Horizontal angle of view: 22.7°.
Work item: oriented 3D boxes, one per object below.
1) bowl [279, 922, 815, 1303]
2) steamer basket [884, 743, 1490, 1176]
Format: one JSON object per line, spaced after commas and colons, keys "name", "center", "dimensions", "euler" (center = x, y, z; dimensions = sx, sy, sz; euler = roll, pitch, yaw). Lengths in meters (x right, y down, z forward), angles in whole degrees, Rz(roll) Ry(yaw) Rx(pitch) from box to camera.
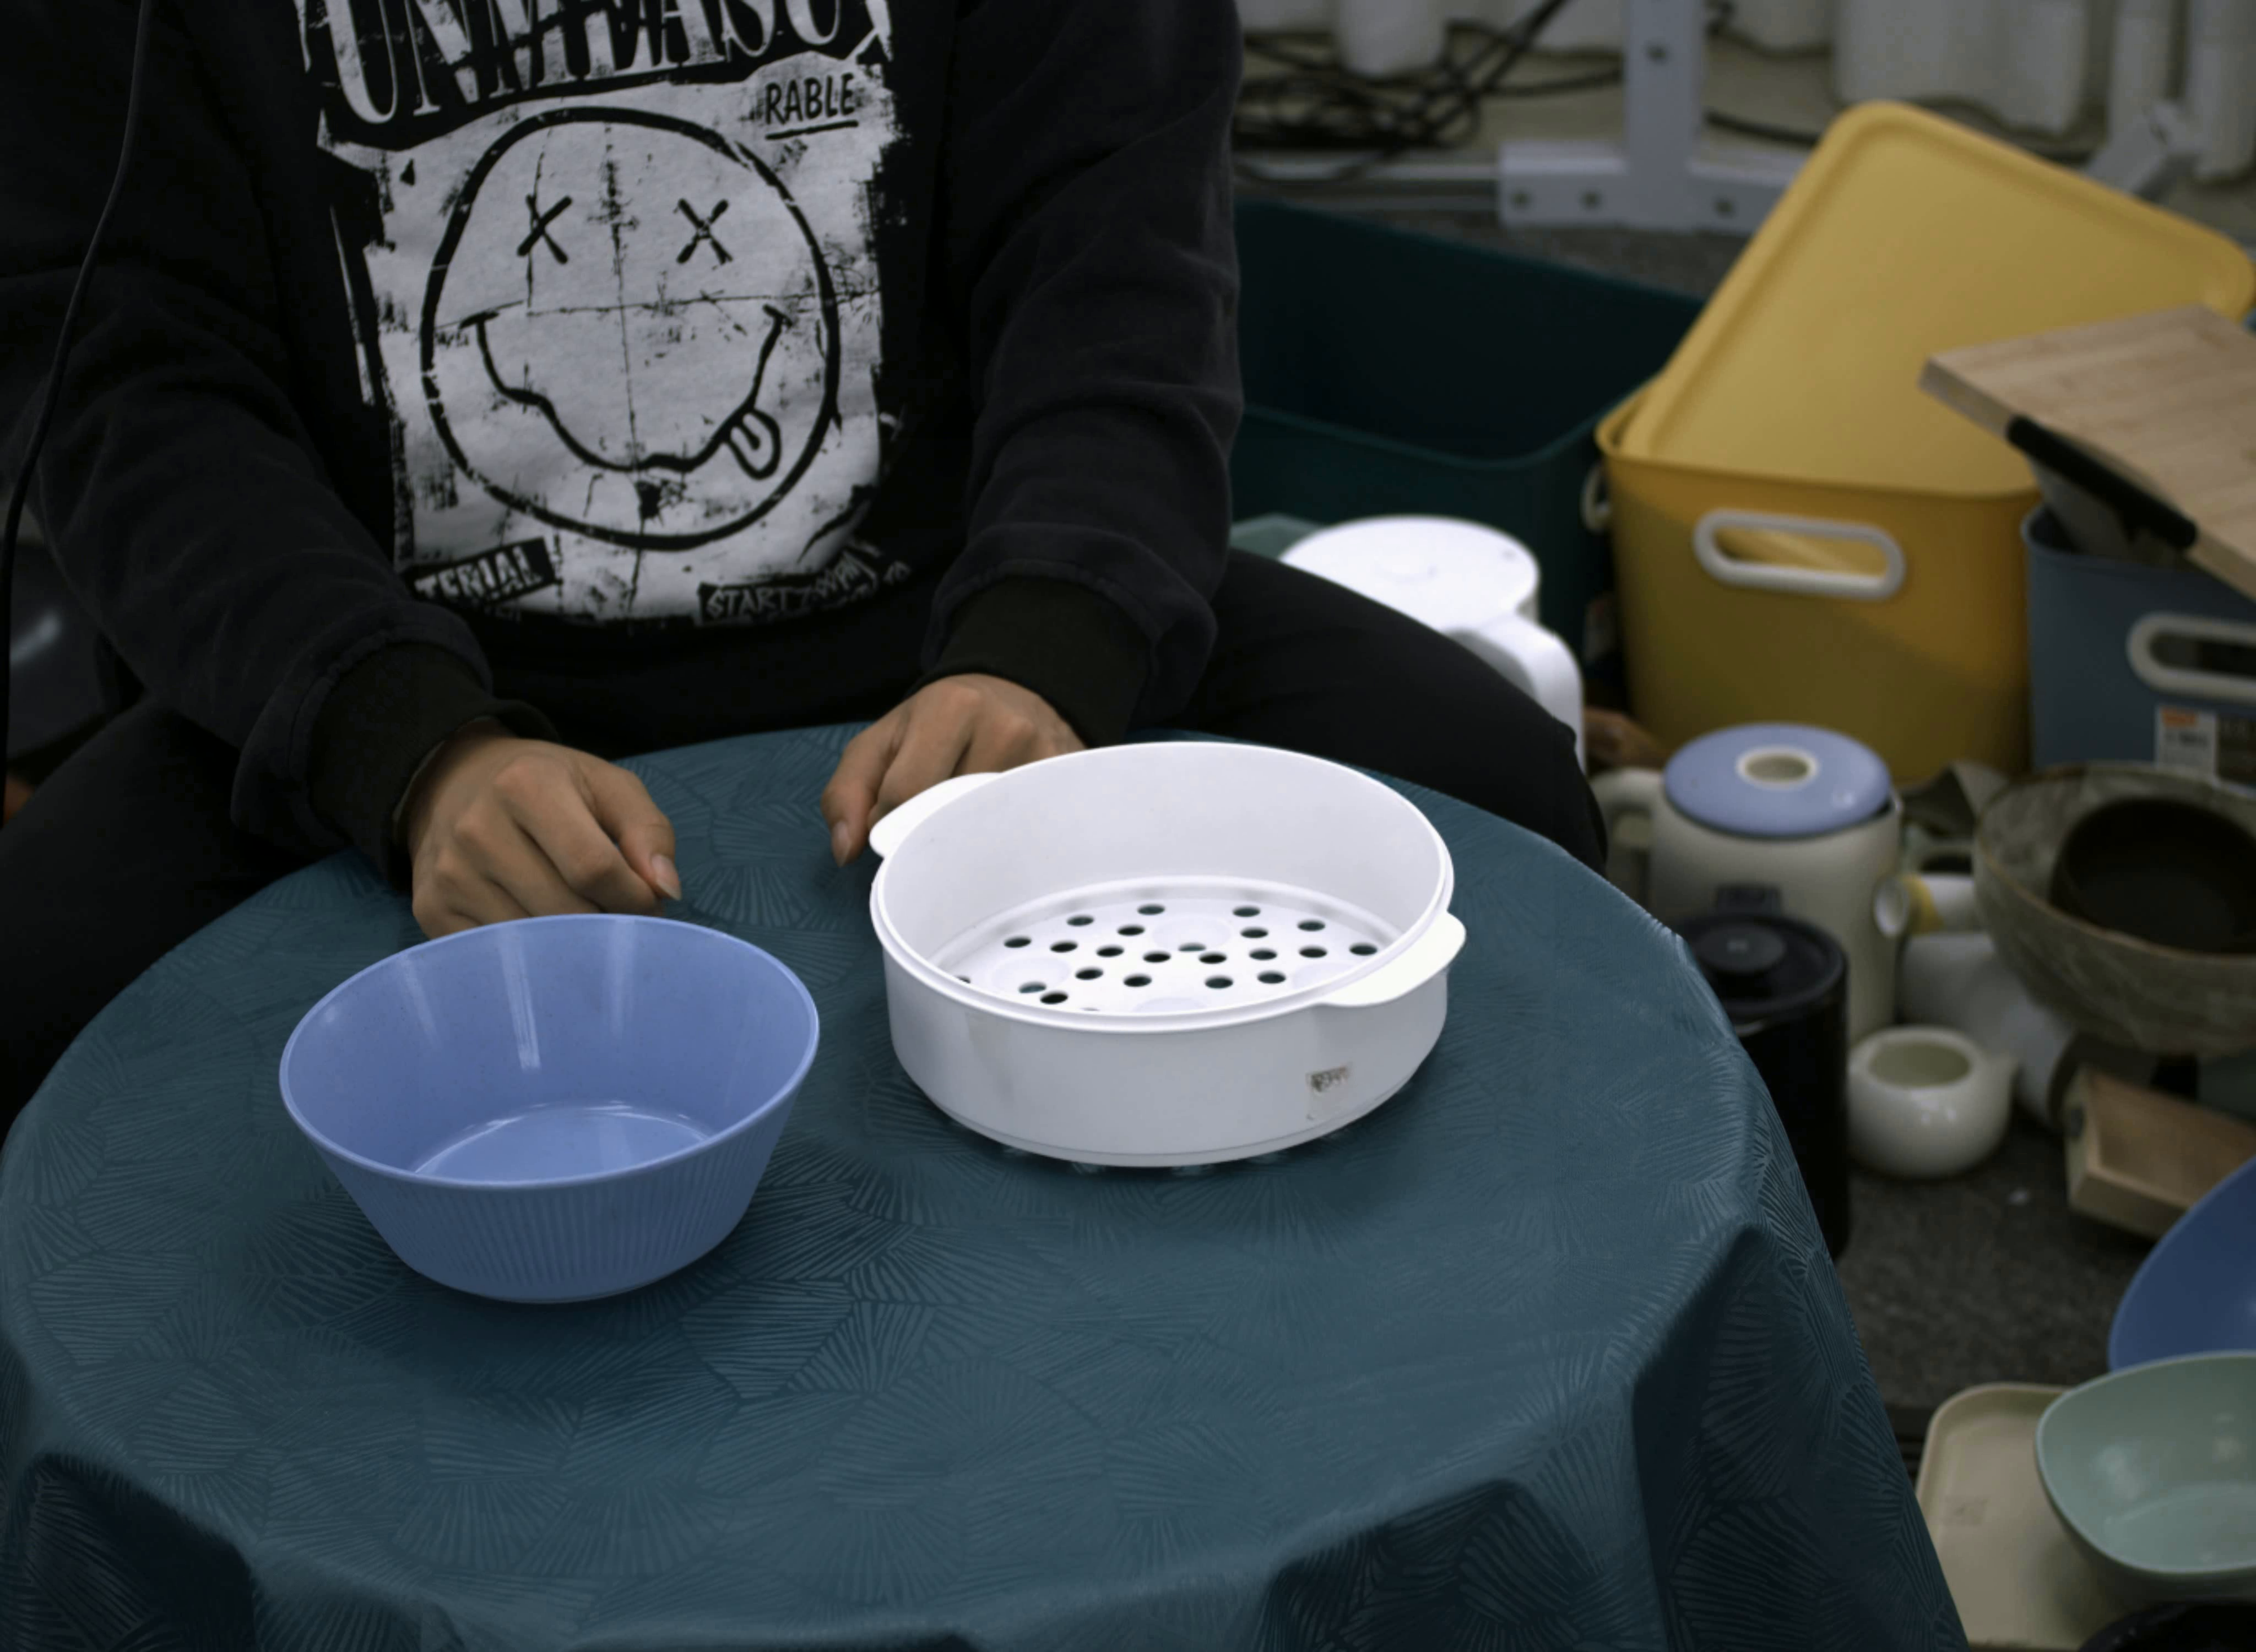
{"name": "bowl", "center": [-0.188, 0.100, 1.845], "dimensions": [0.175, 0.069, 0.178], "euler": [-2, 26, 1]}
{"name": "steamer basket", "center": [0.019, 0.046, 1.932], "dimensions": [0.230, 0.068, 0.205], "euler": [19, 34, 33]}
